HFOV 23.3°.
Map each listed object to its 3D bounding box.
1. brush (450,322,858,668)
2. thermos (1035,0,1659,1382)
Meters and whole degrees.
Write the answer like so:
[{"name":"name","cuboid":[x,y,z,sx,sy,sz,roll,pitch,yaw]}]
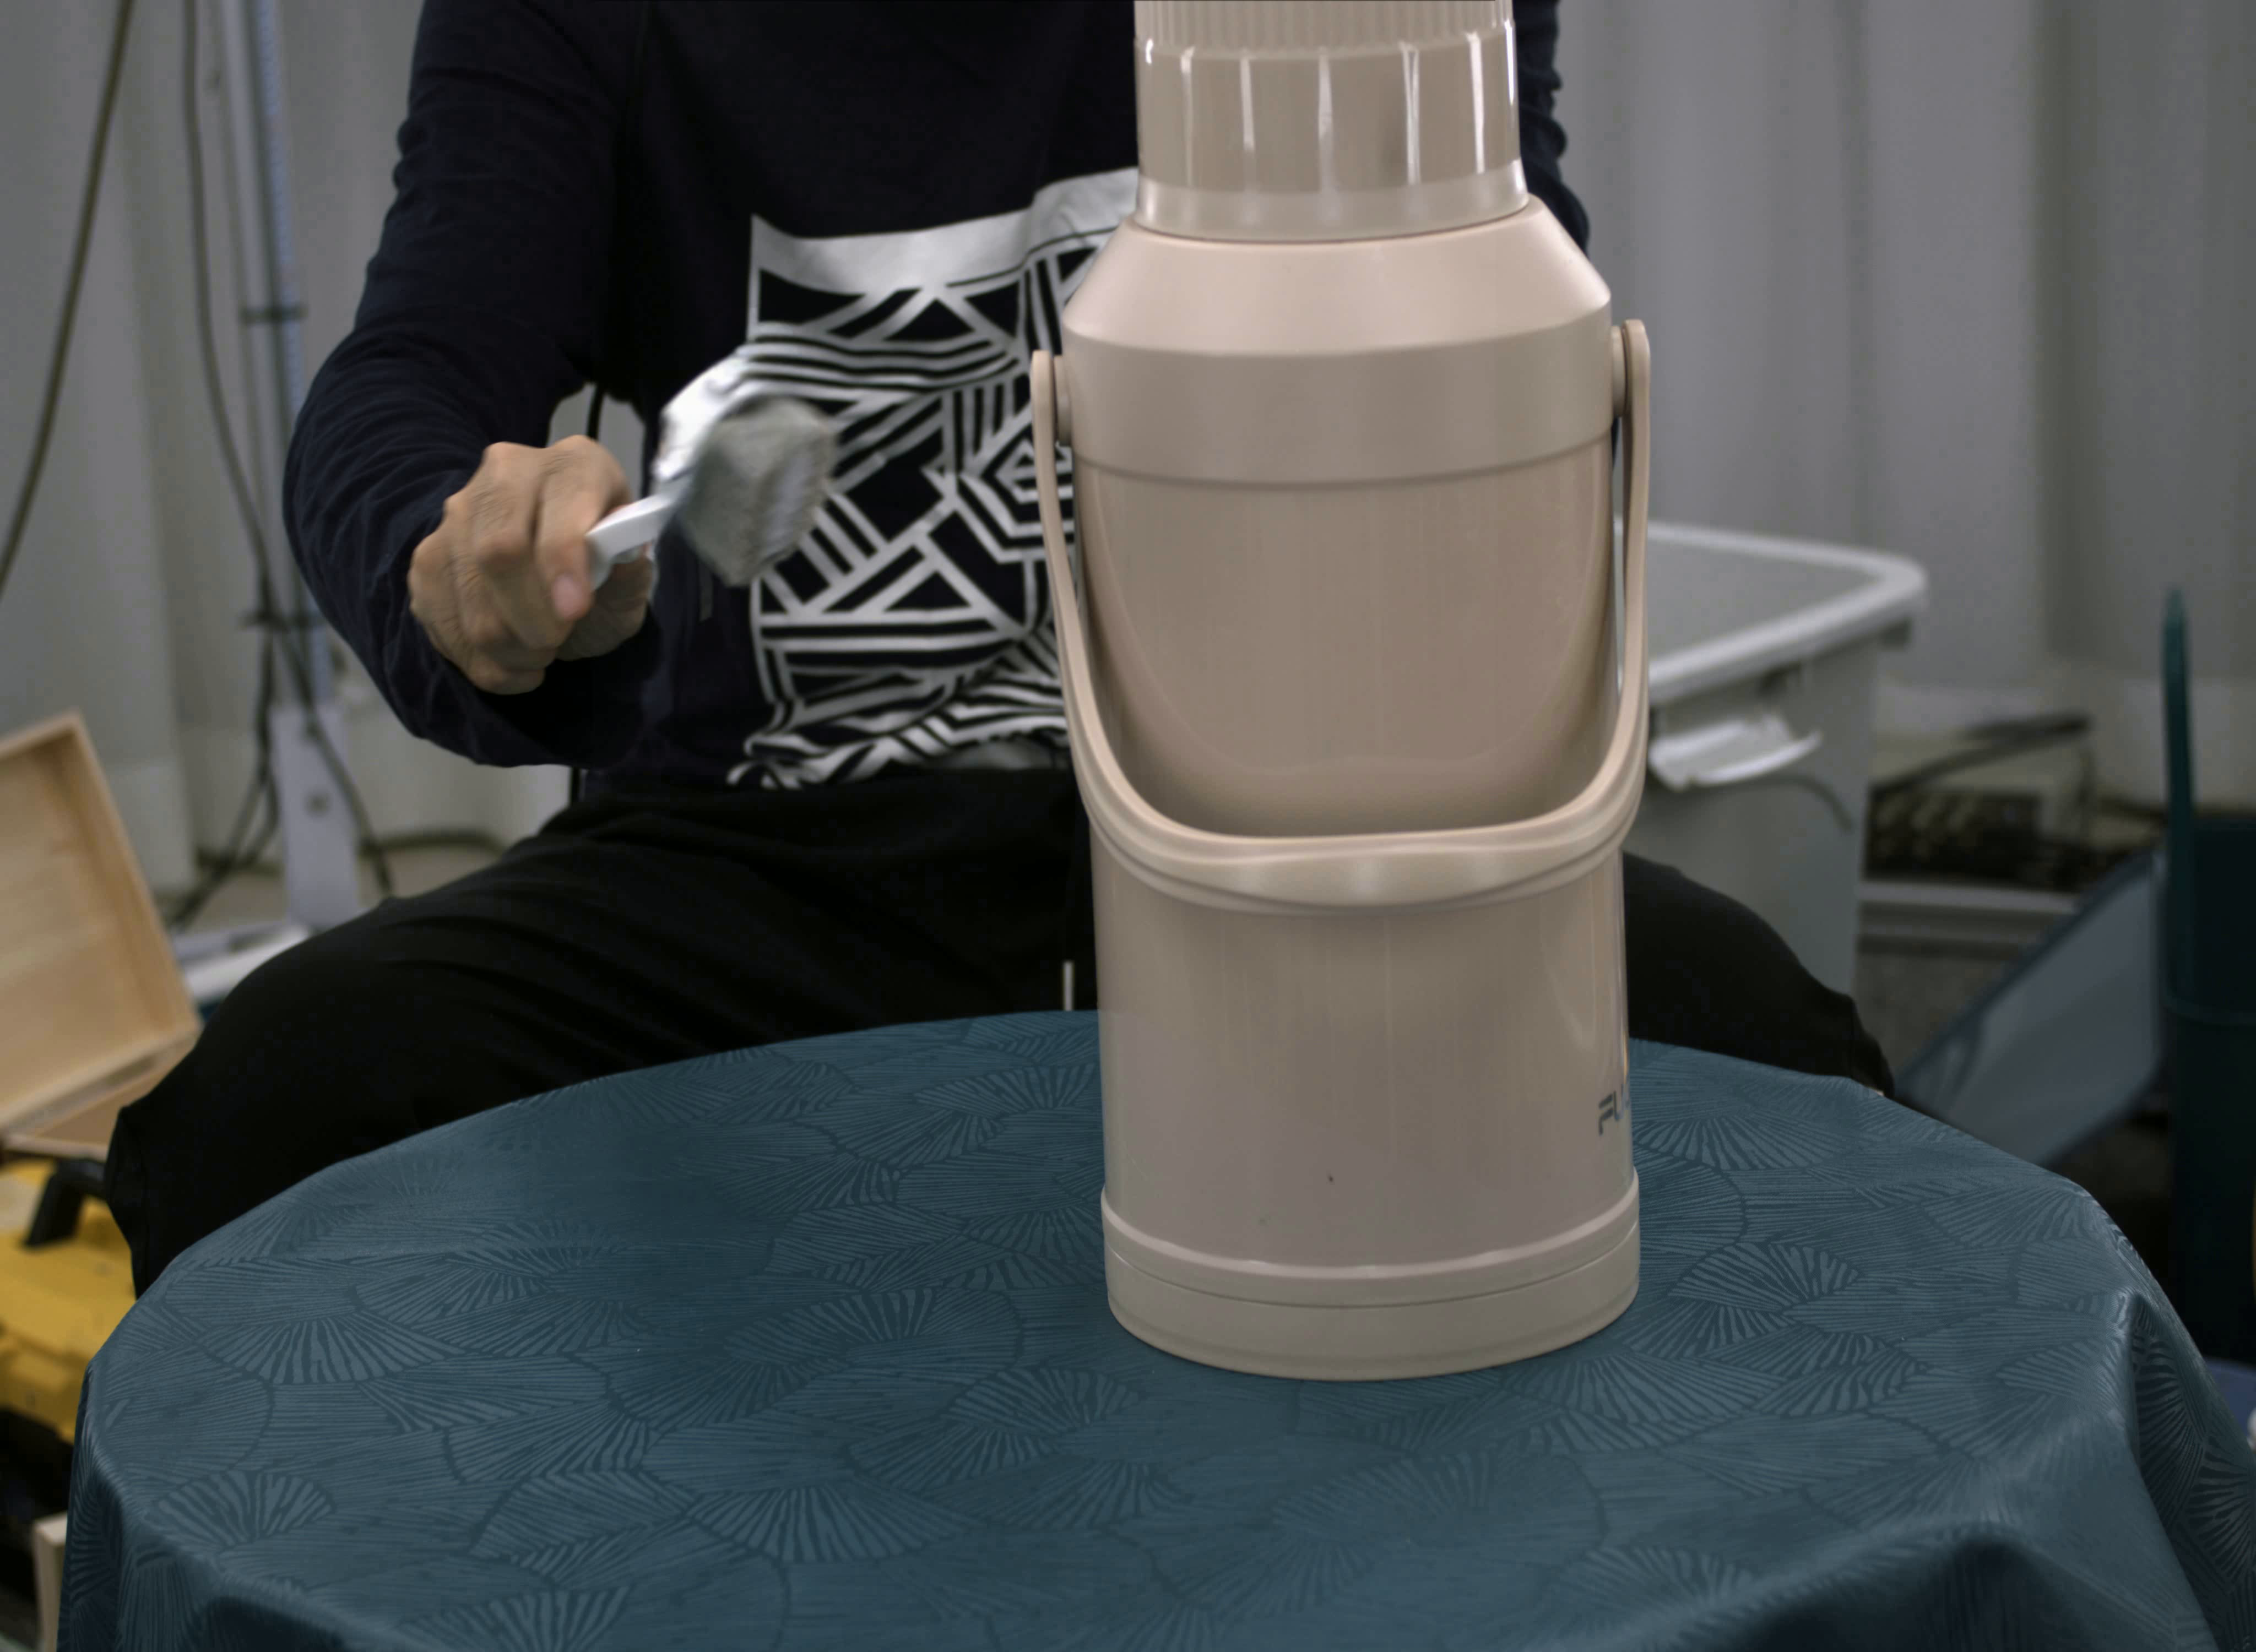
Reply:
[{"name":"brush","cuboid":[-0.138,-0.079,1.595,0.034,0.050,0.242,-44,3,-32]},{"name":"thermos","cuboid":[0.066,-0.058,1.586,0.175,0.405,0.208,-5,14,-2]}]
